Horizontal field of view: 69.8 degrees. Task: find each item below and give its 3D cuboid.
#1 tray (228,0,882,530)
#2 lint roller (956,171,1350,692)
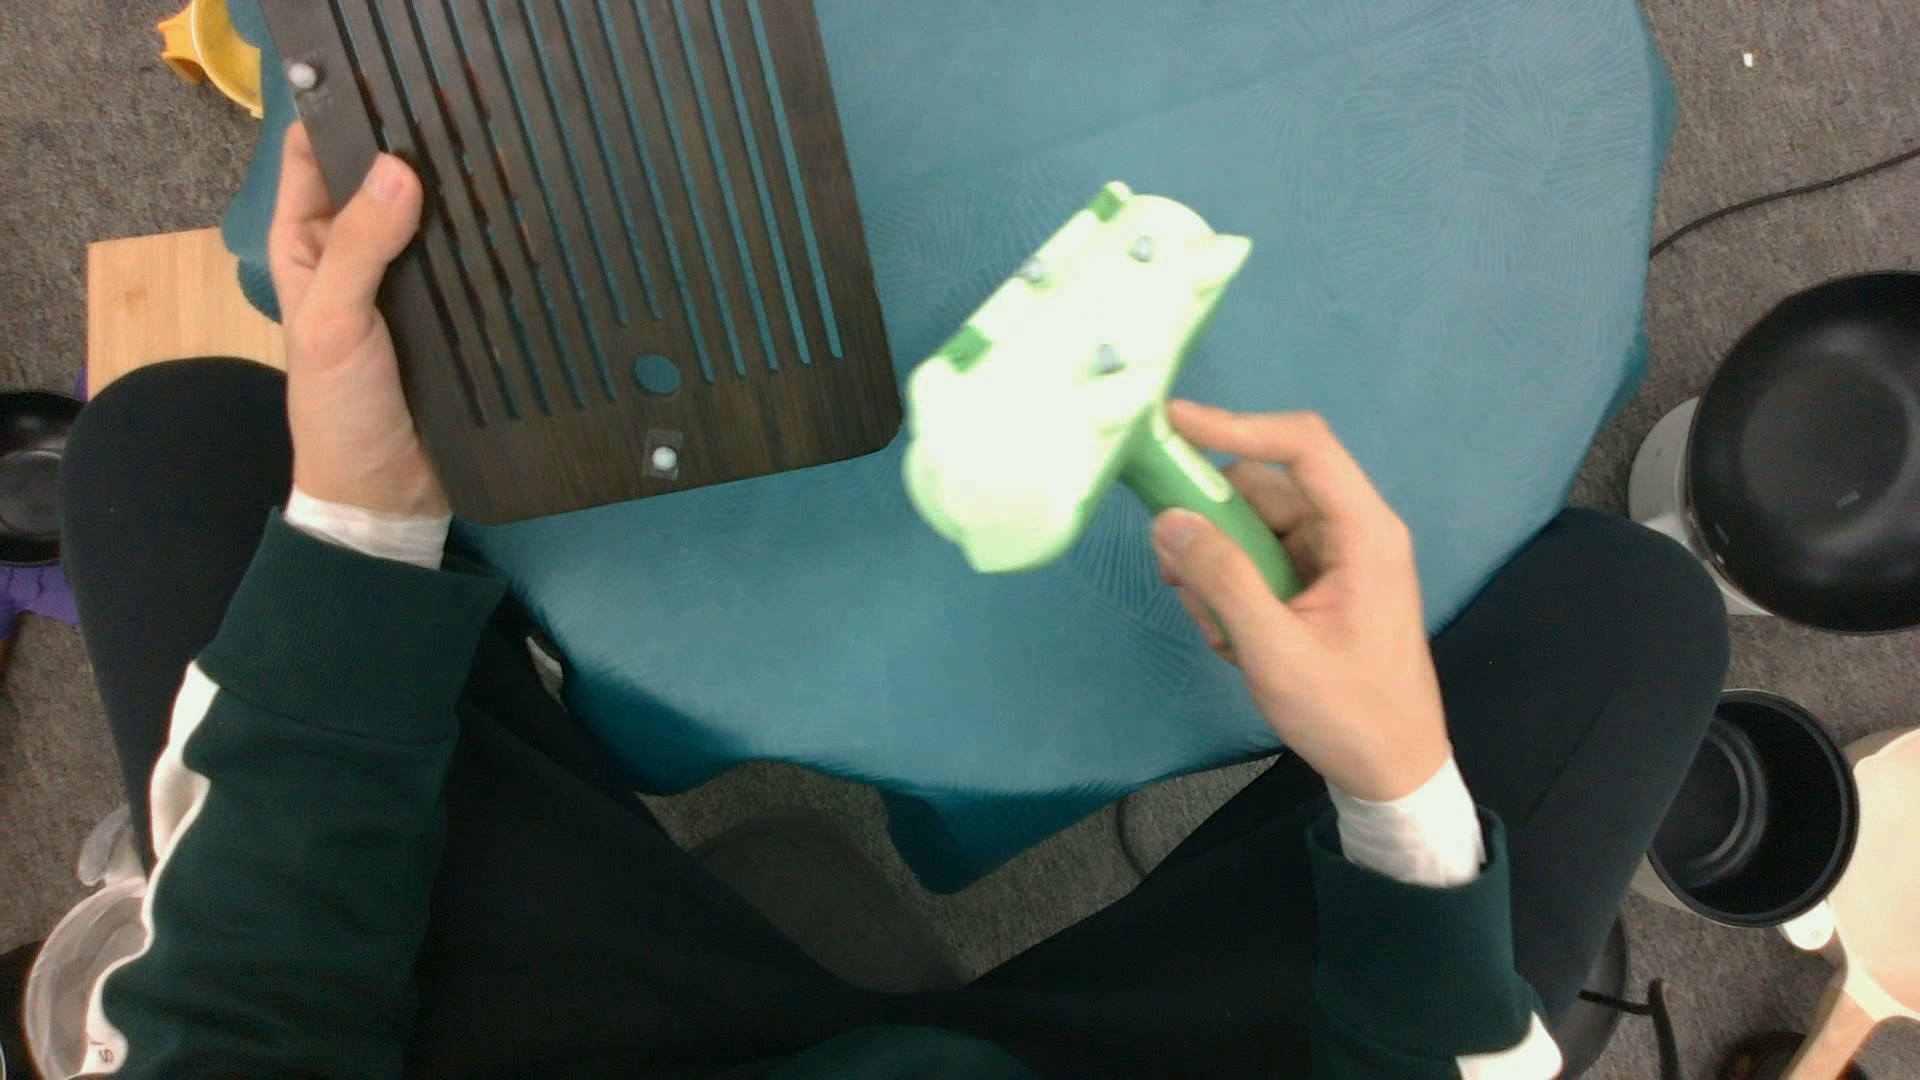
[{"bbox_3d":[-0.140,-0.158,0.452,0.170,0.018,0.305,-13,113,-1],"label":"tray"},{"bbox_3d":[0.094,-0.030,0.464,0.183,0.199,0.082,47,125,-8],"label":"lint roller"}]
